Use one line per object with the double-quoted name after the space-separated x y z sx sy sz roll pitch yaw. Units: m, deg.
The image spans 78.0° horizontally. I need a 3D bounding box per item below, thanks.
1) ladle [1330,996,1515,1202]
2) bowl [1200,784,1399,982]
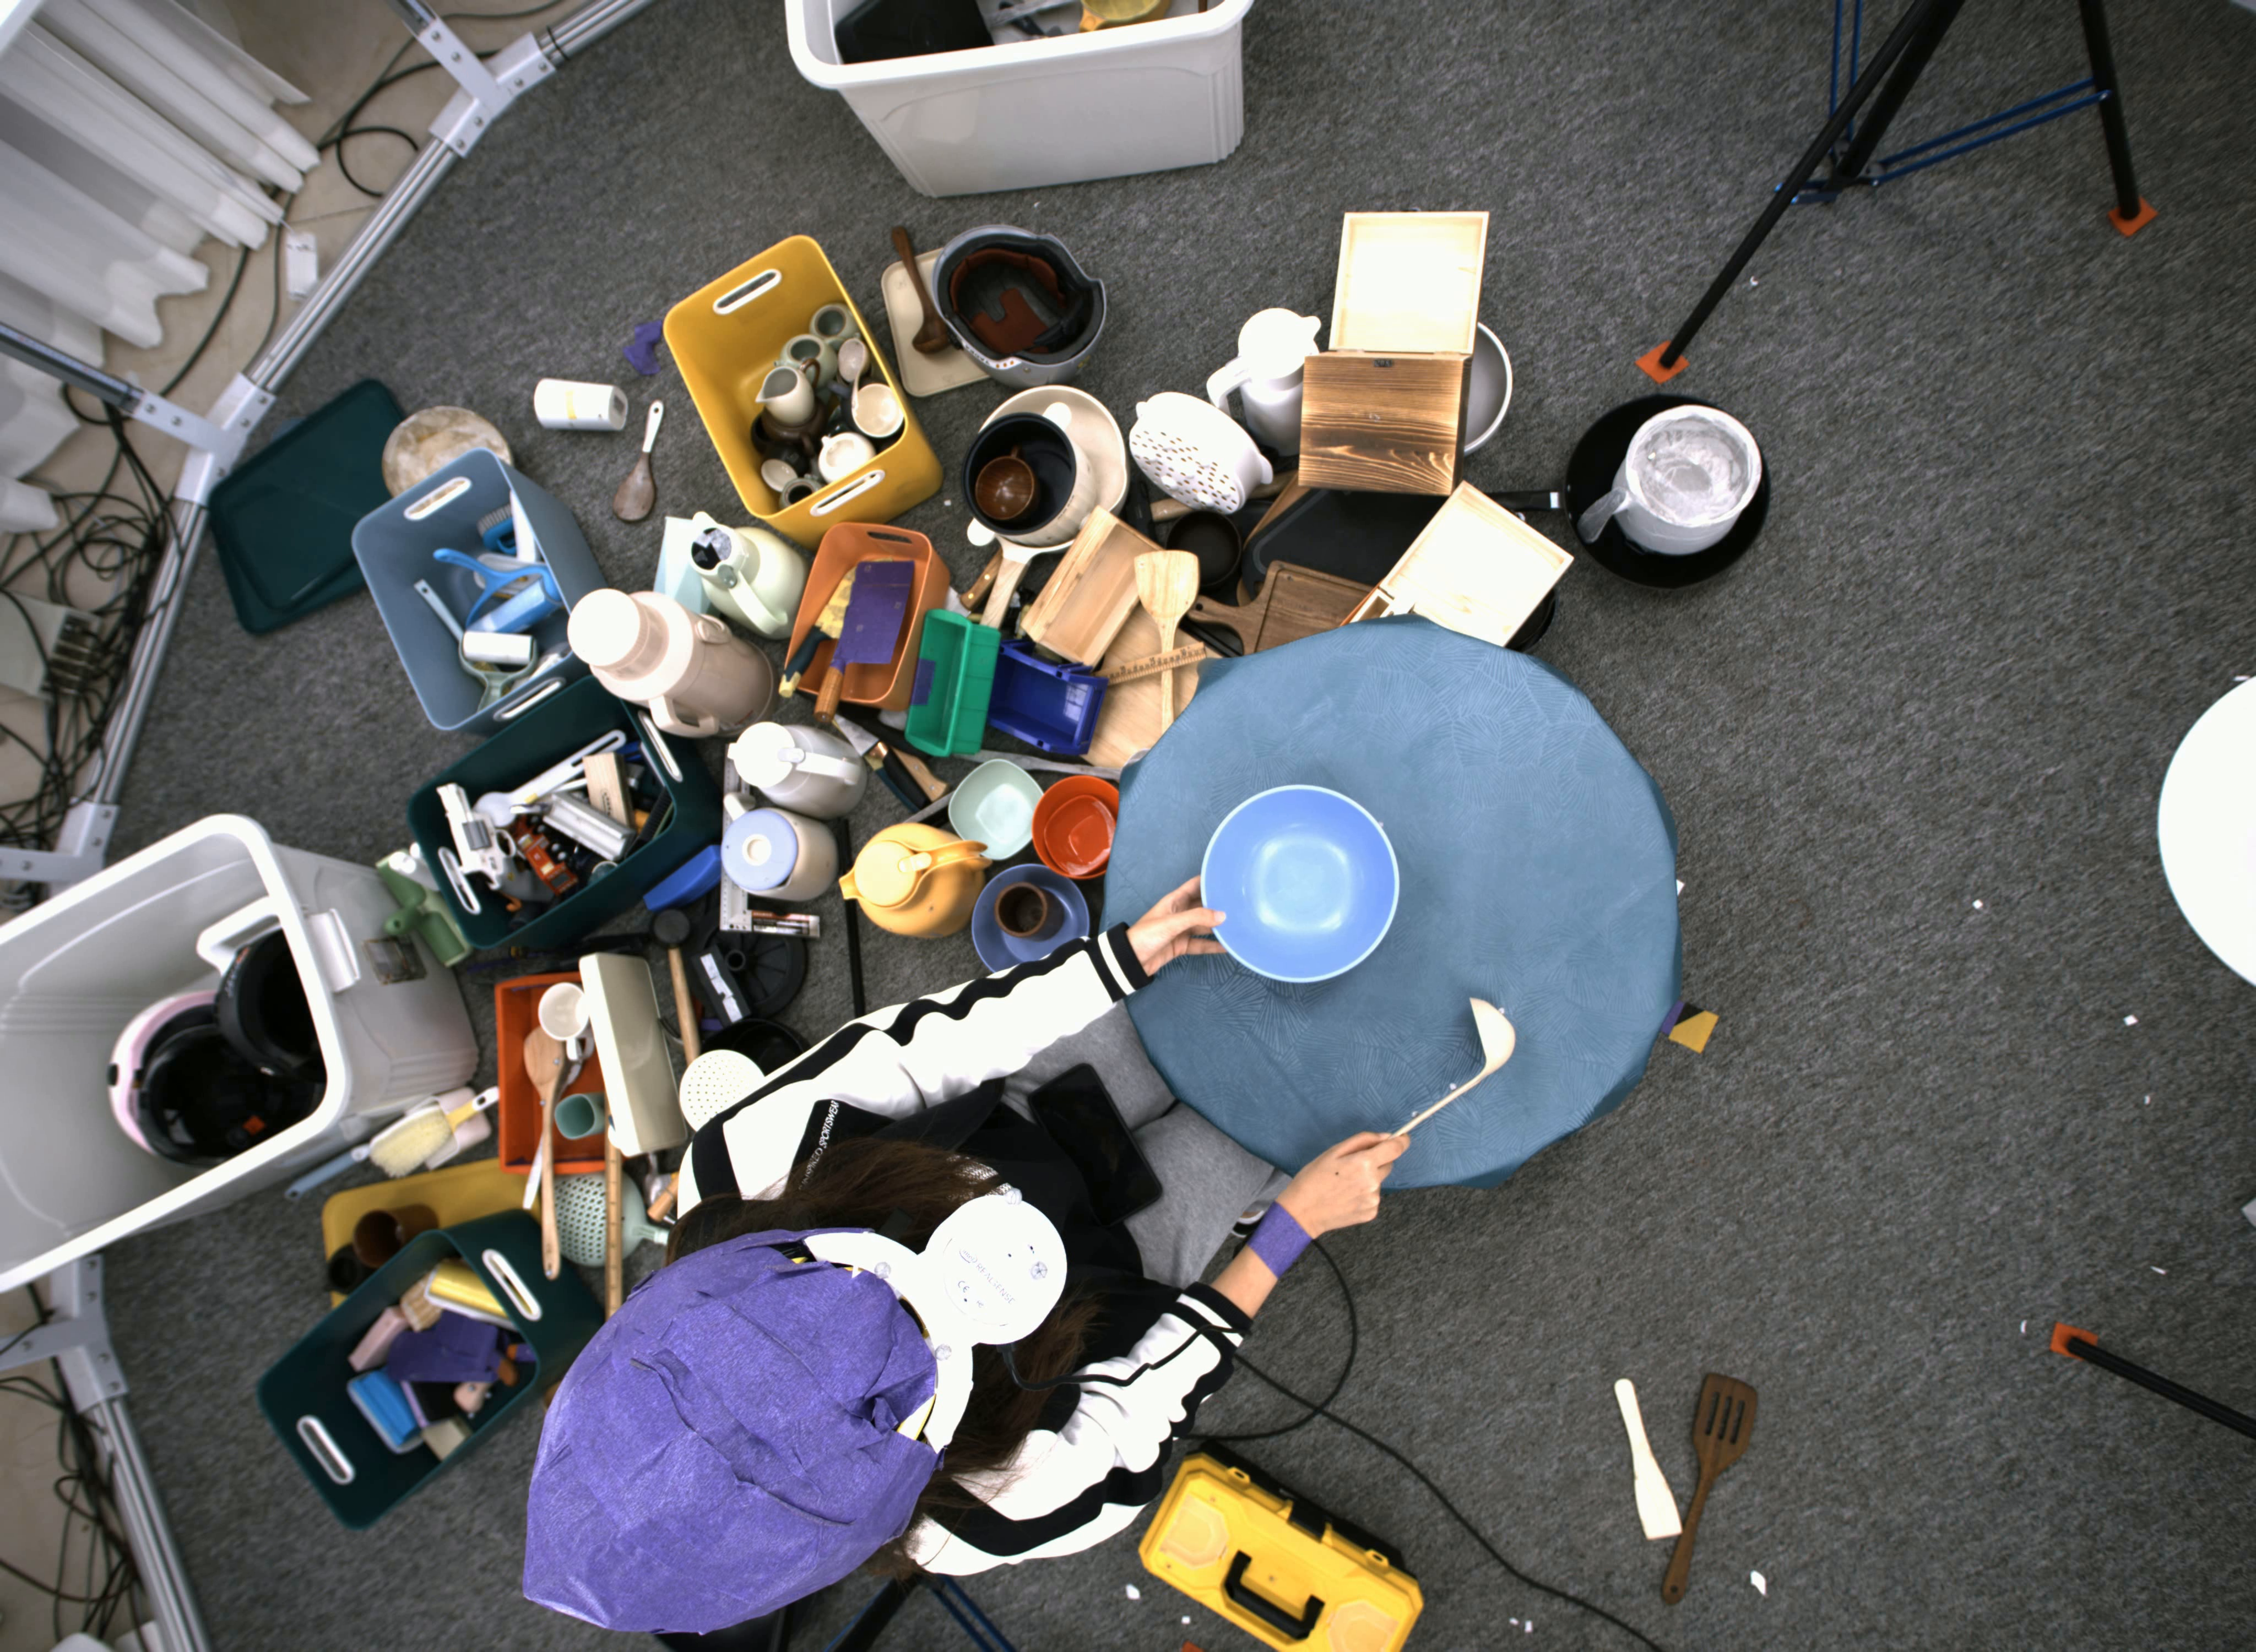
0.282 0.270 1.398 0.255 0.073 0.072 -39 62 1 "ladle"
0.177 0.057 1.416 0.197 0.095 0.196 0 91 10 "bowl"
